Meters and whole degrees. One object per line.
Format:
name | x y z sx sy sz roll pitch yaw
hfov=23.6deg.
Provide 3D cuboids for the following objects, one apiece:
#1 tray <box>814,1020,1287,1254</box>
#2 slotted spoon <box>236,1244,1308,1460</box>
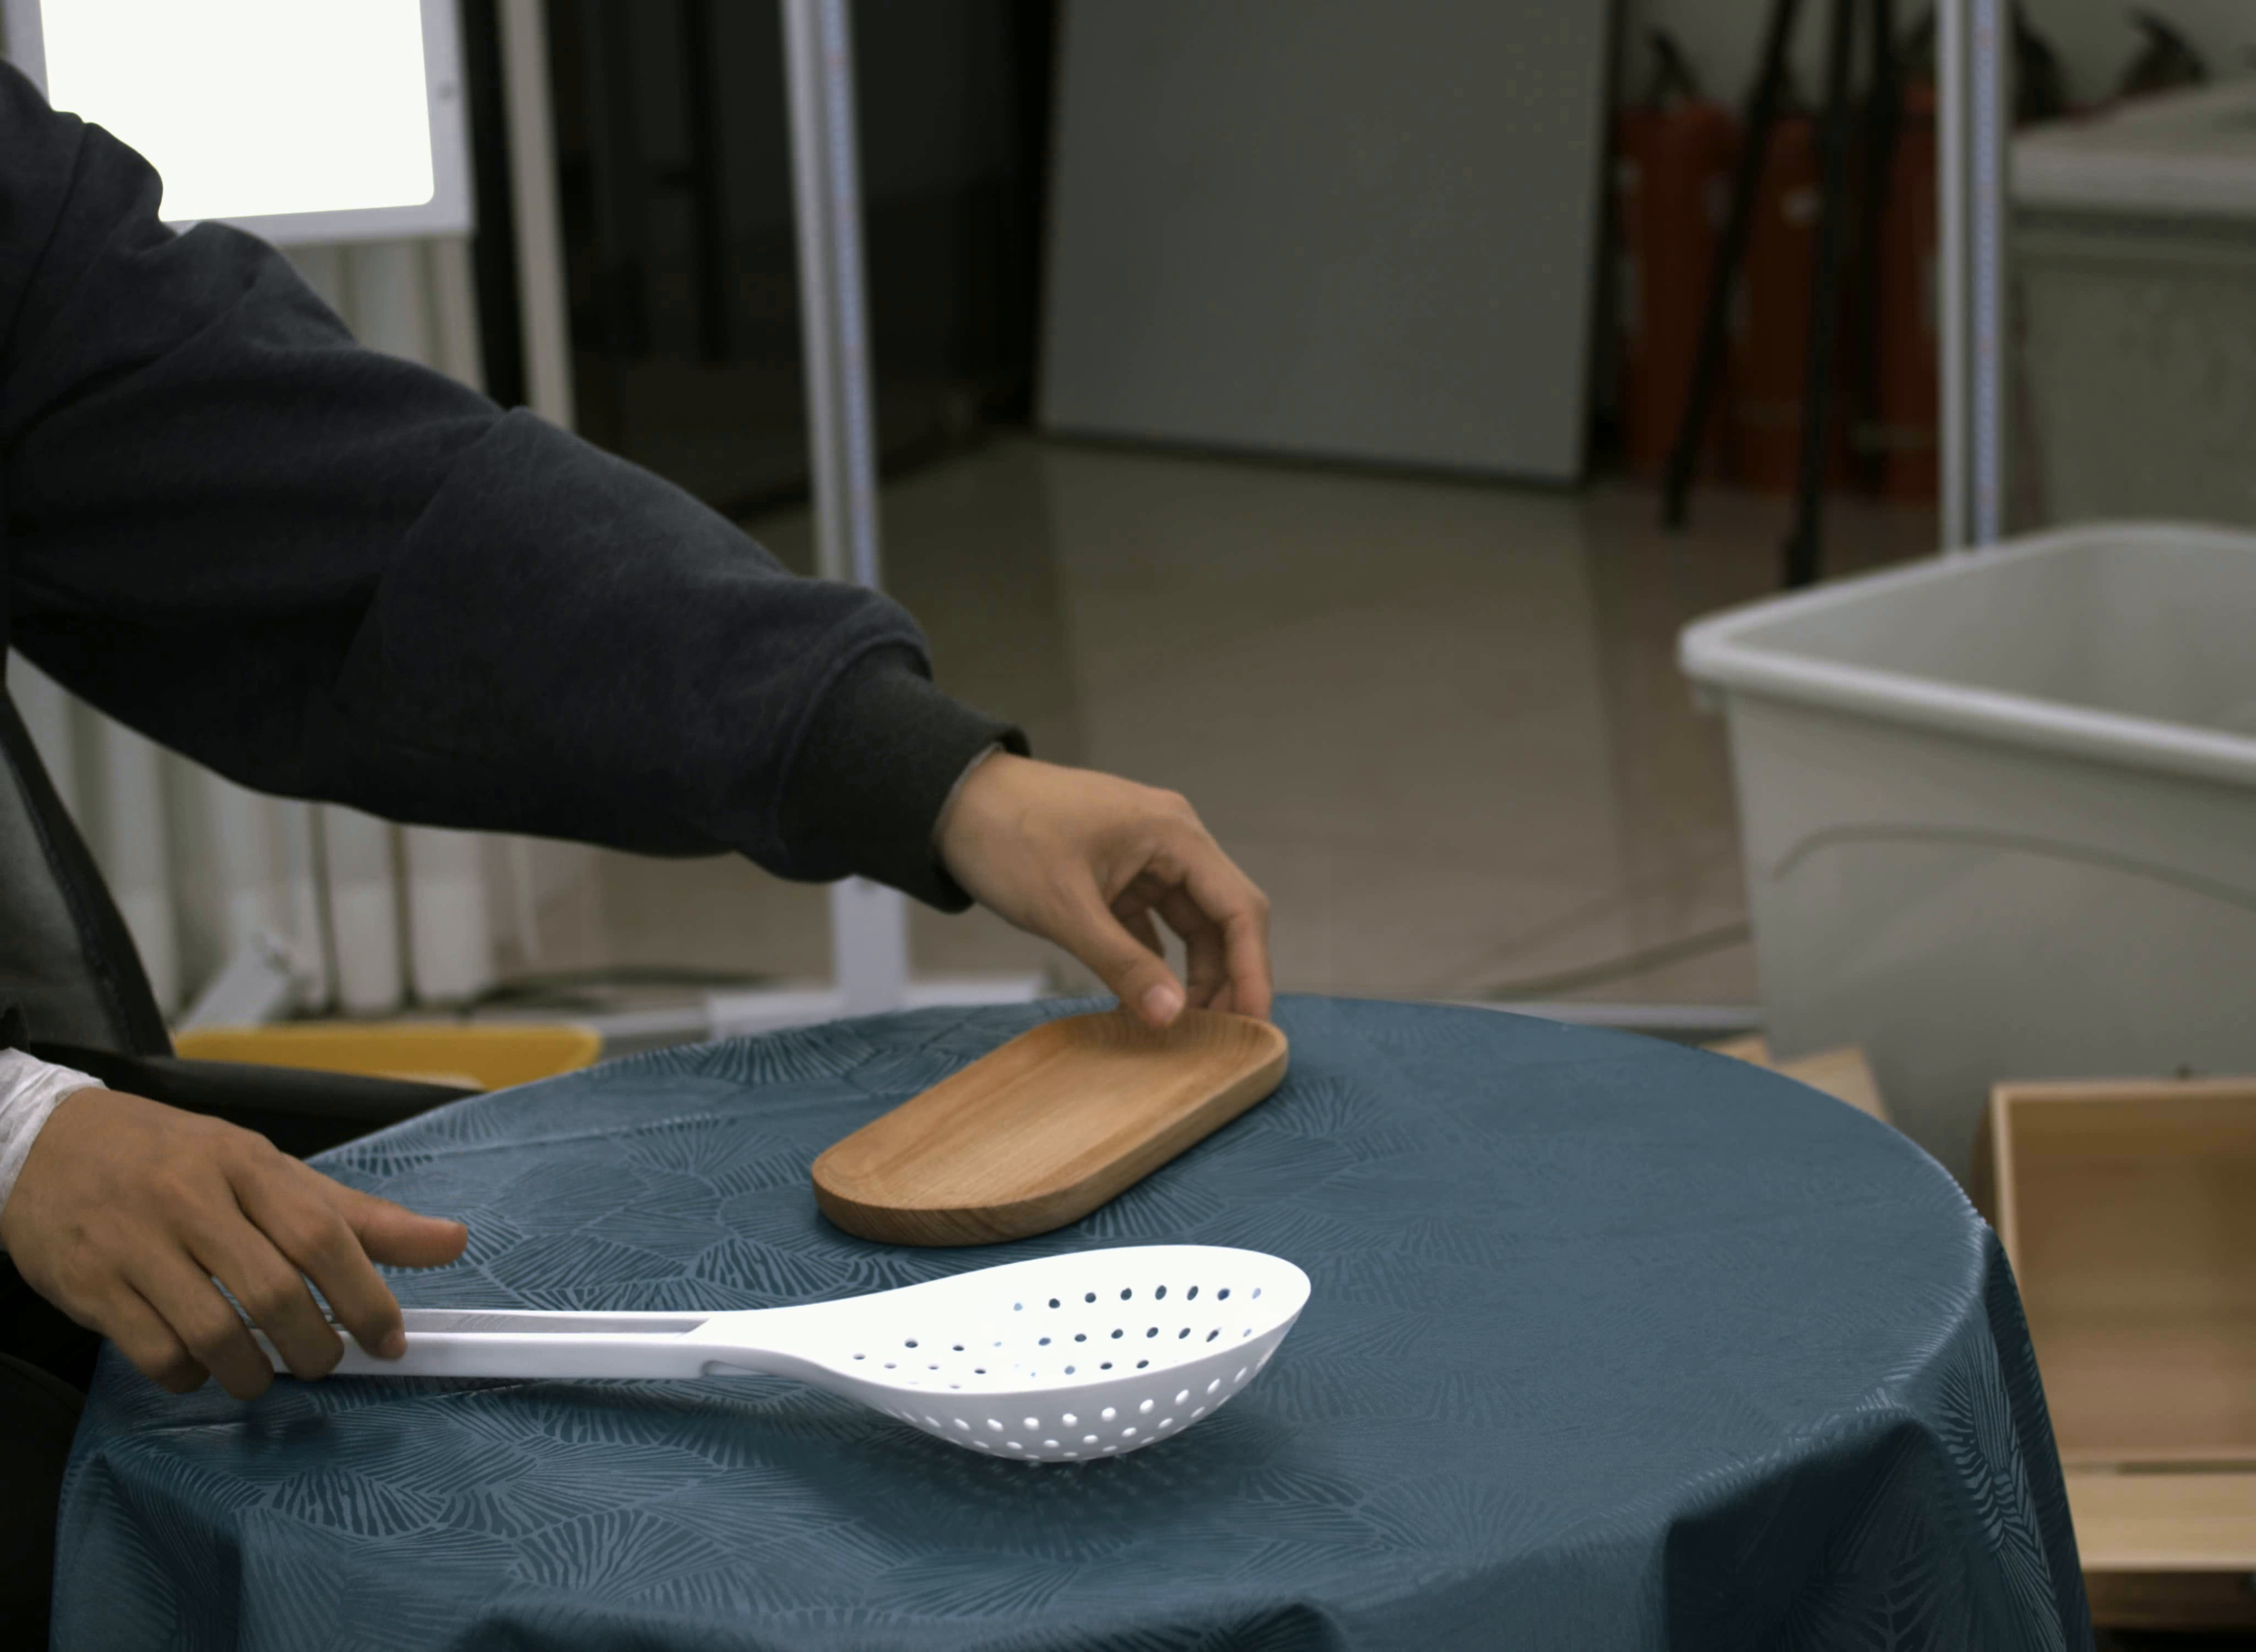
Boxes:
tray | -0.023 0.103 1.817 0.102 0.020 0.228 2 16 27
slotted spoon | -0.111 0.151 1.580 0.350 0.046 0.134 1 13 25
